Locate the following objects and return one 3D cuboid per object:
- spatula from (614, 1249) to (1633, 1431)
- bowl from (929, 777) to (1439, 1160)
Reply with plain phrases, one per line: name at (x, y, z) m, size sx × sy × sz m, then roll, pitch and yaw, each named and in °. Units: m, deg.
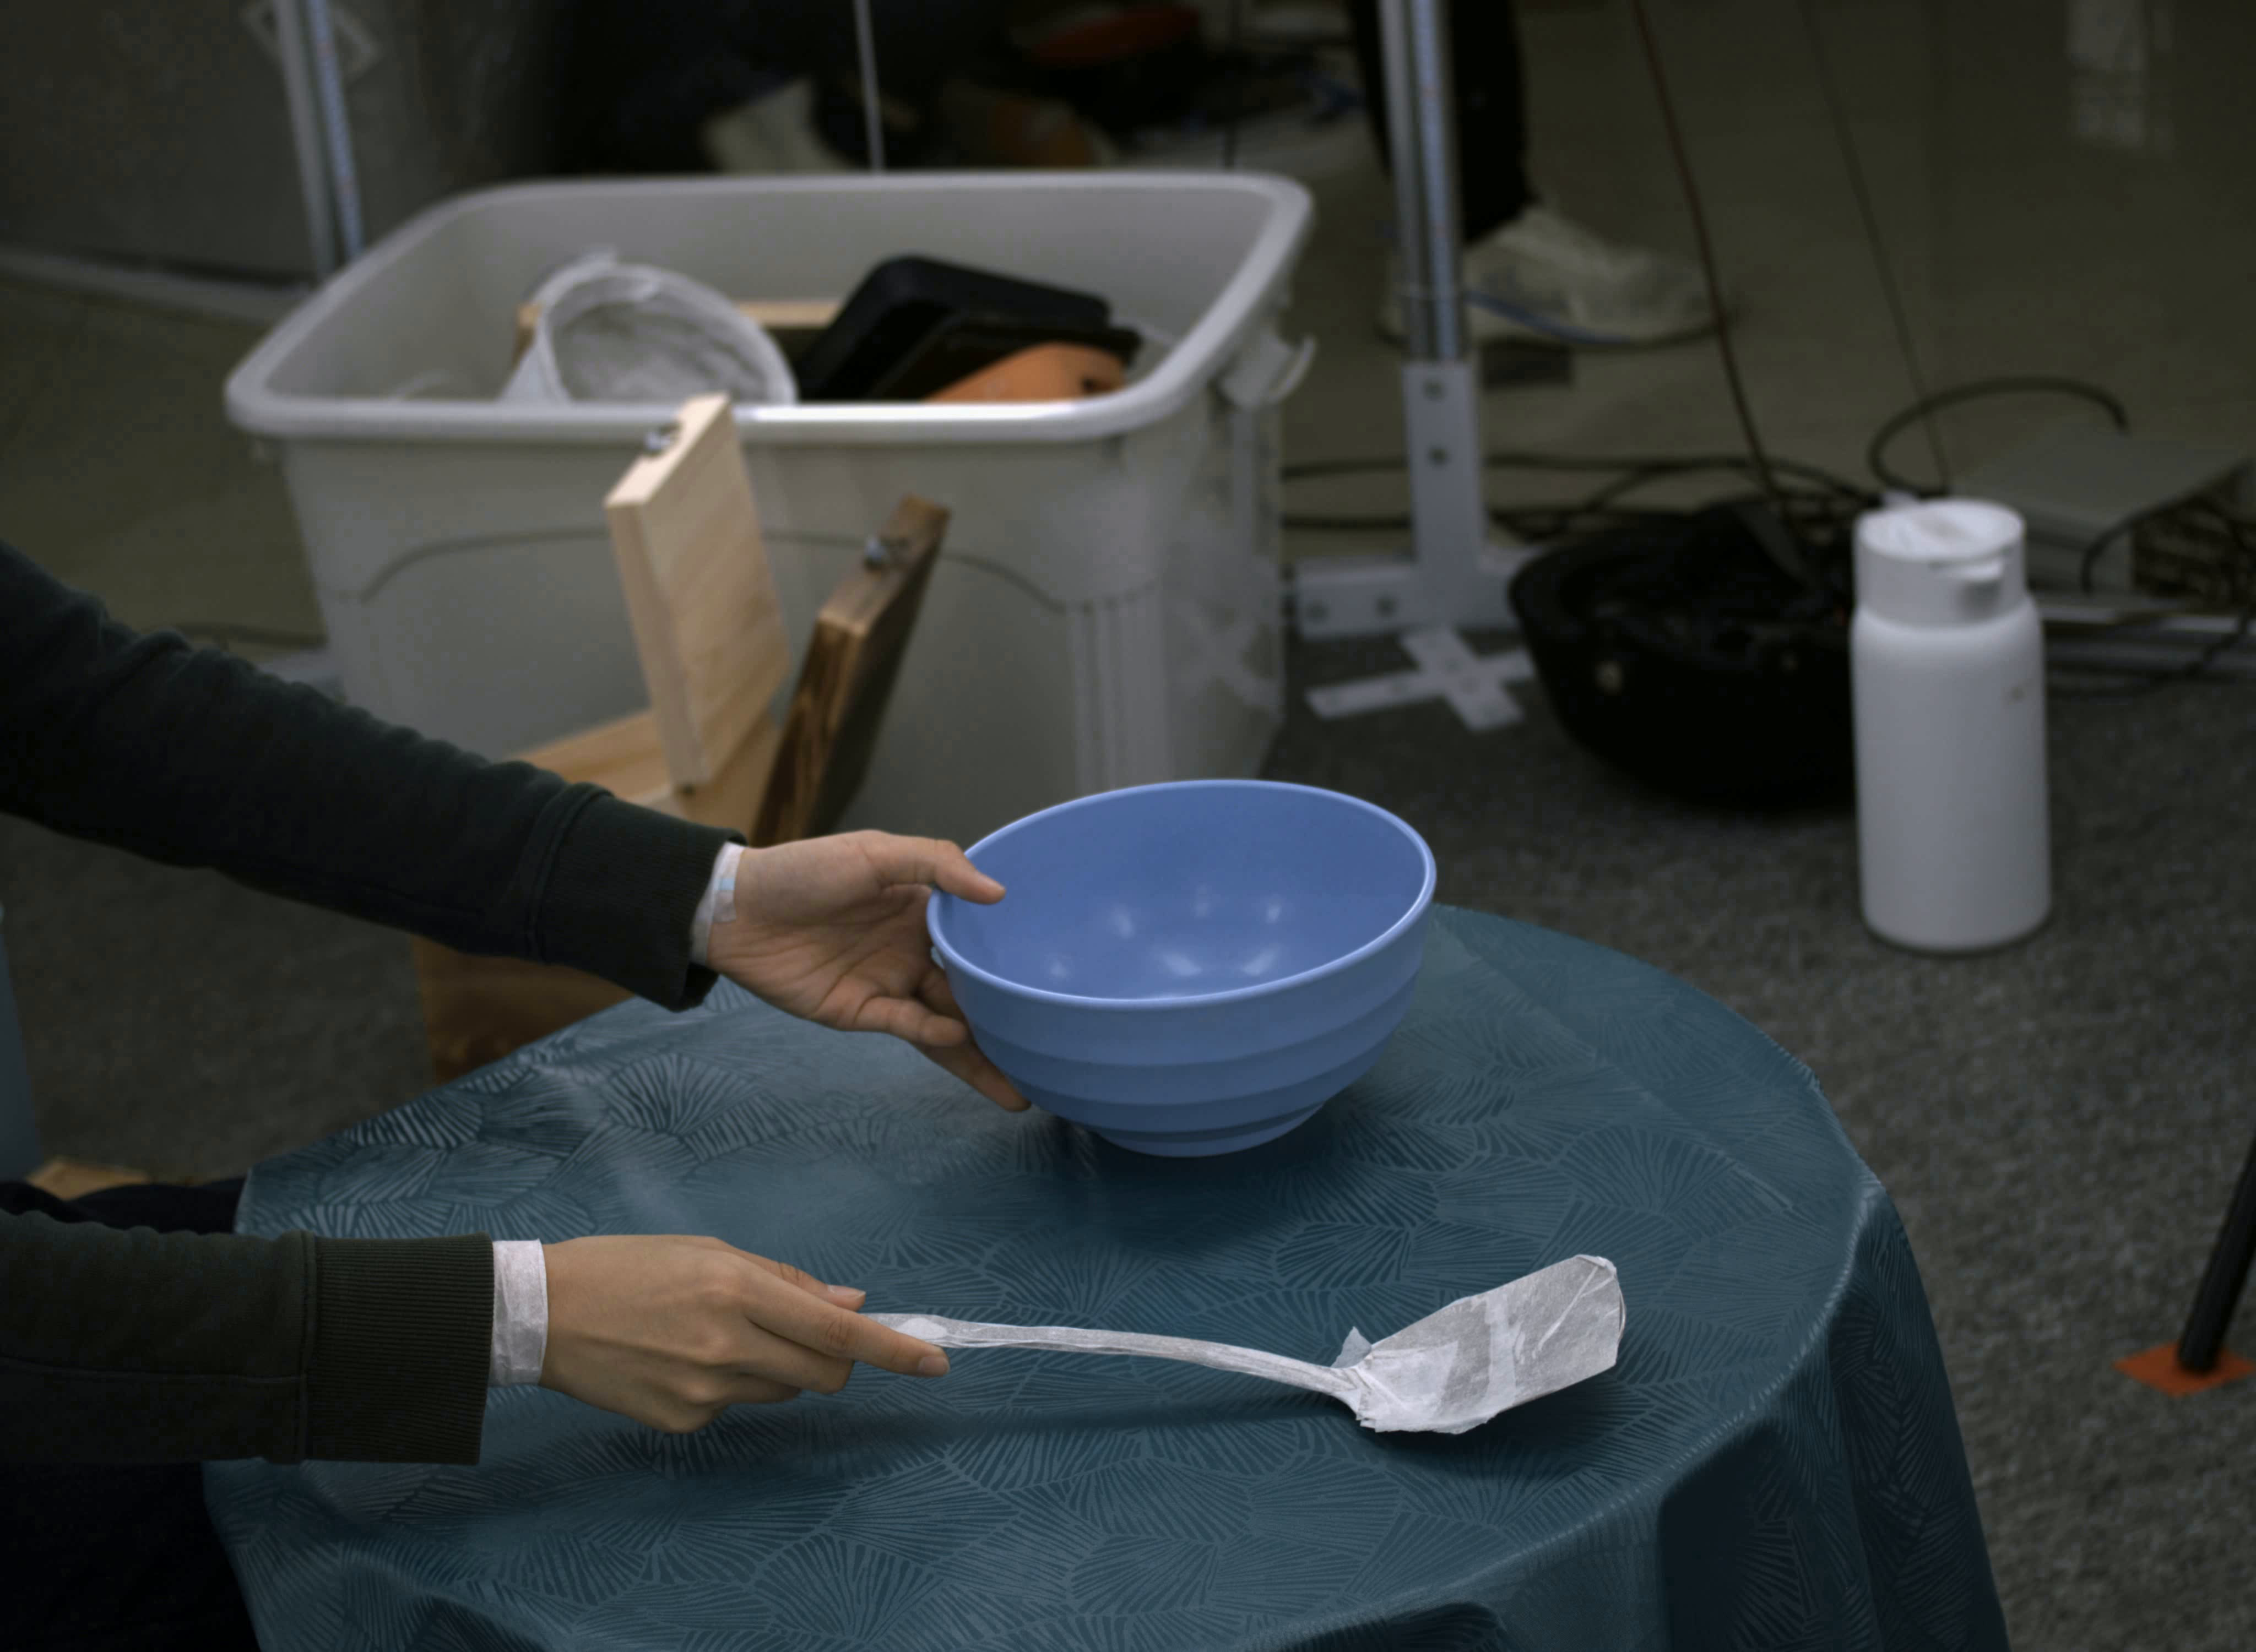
spatula at (-0.006, 0.177, 2.001) m, size 0.364 × 0.045 × 0.097 m, roll 3°, pitch 26°, yaw 6°
bowl at (0.025, 0.066, 2.190) m, size 0.196 × 0.097 × 0.193 m, roll -5°, pitch 27°, yaw 2°
